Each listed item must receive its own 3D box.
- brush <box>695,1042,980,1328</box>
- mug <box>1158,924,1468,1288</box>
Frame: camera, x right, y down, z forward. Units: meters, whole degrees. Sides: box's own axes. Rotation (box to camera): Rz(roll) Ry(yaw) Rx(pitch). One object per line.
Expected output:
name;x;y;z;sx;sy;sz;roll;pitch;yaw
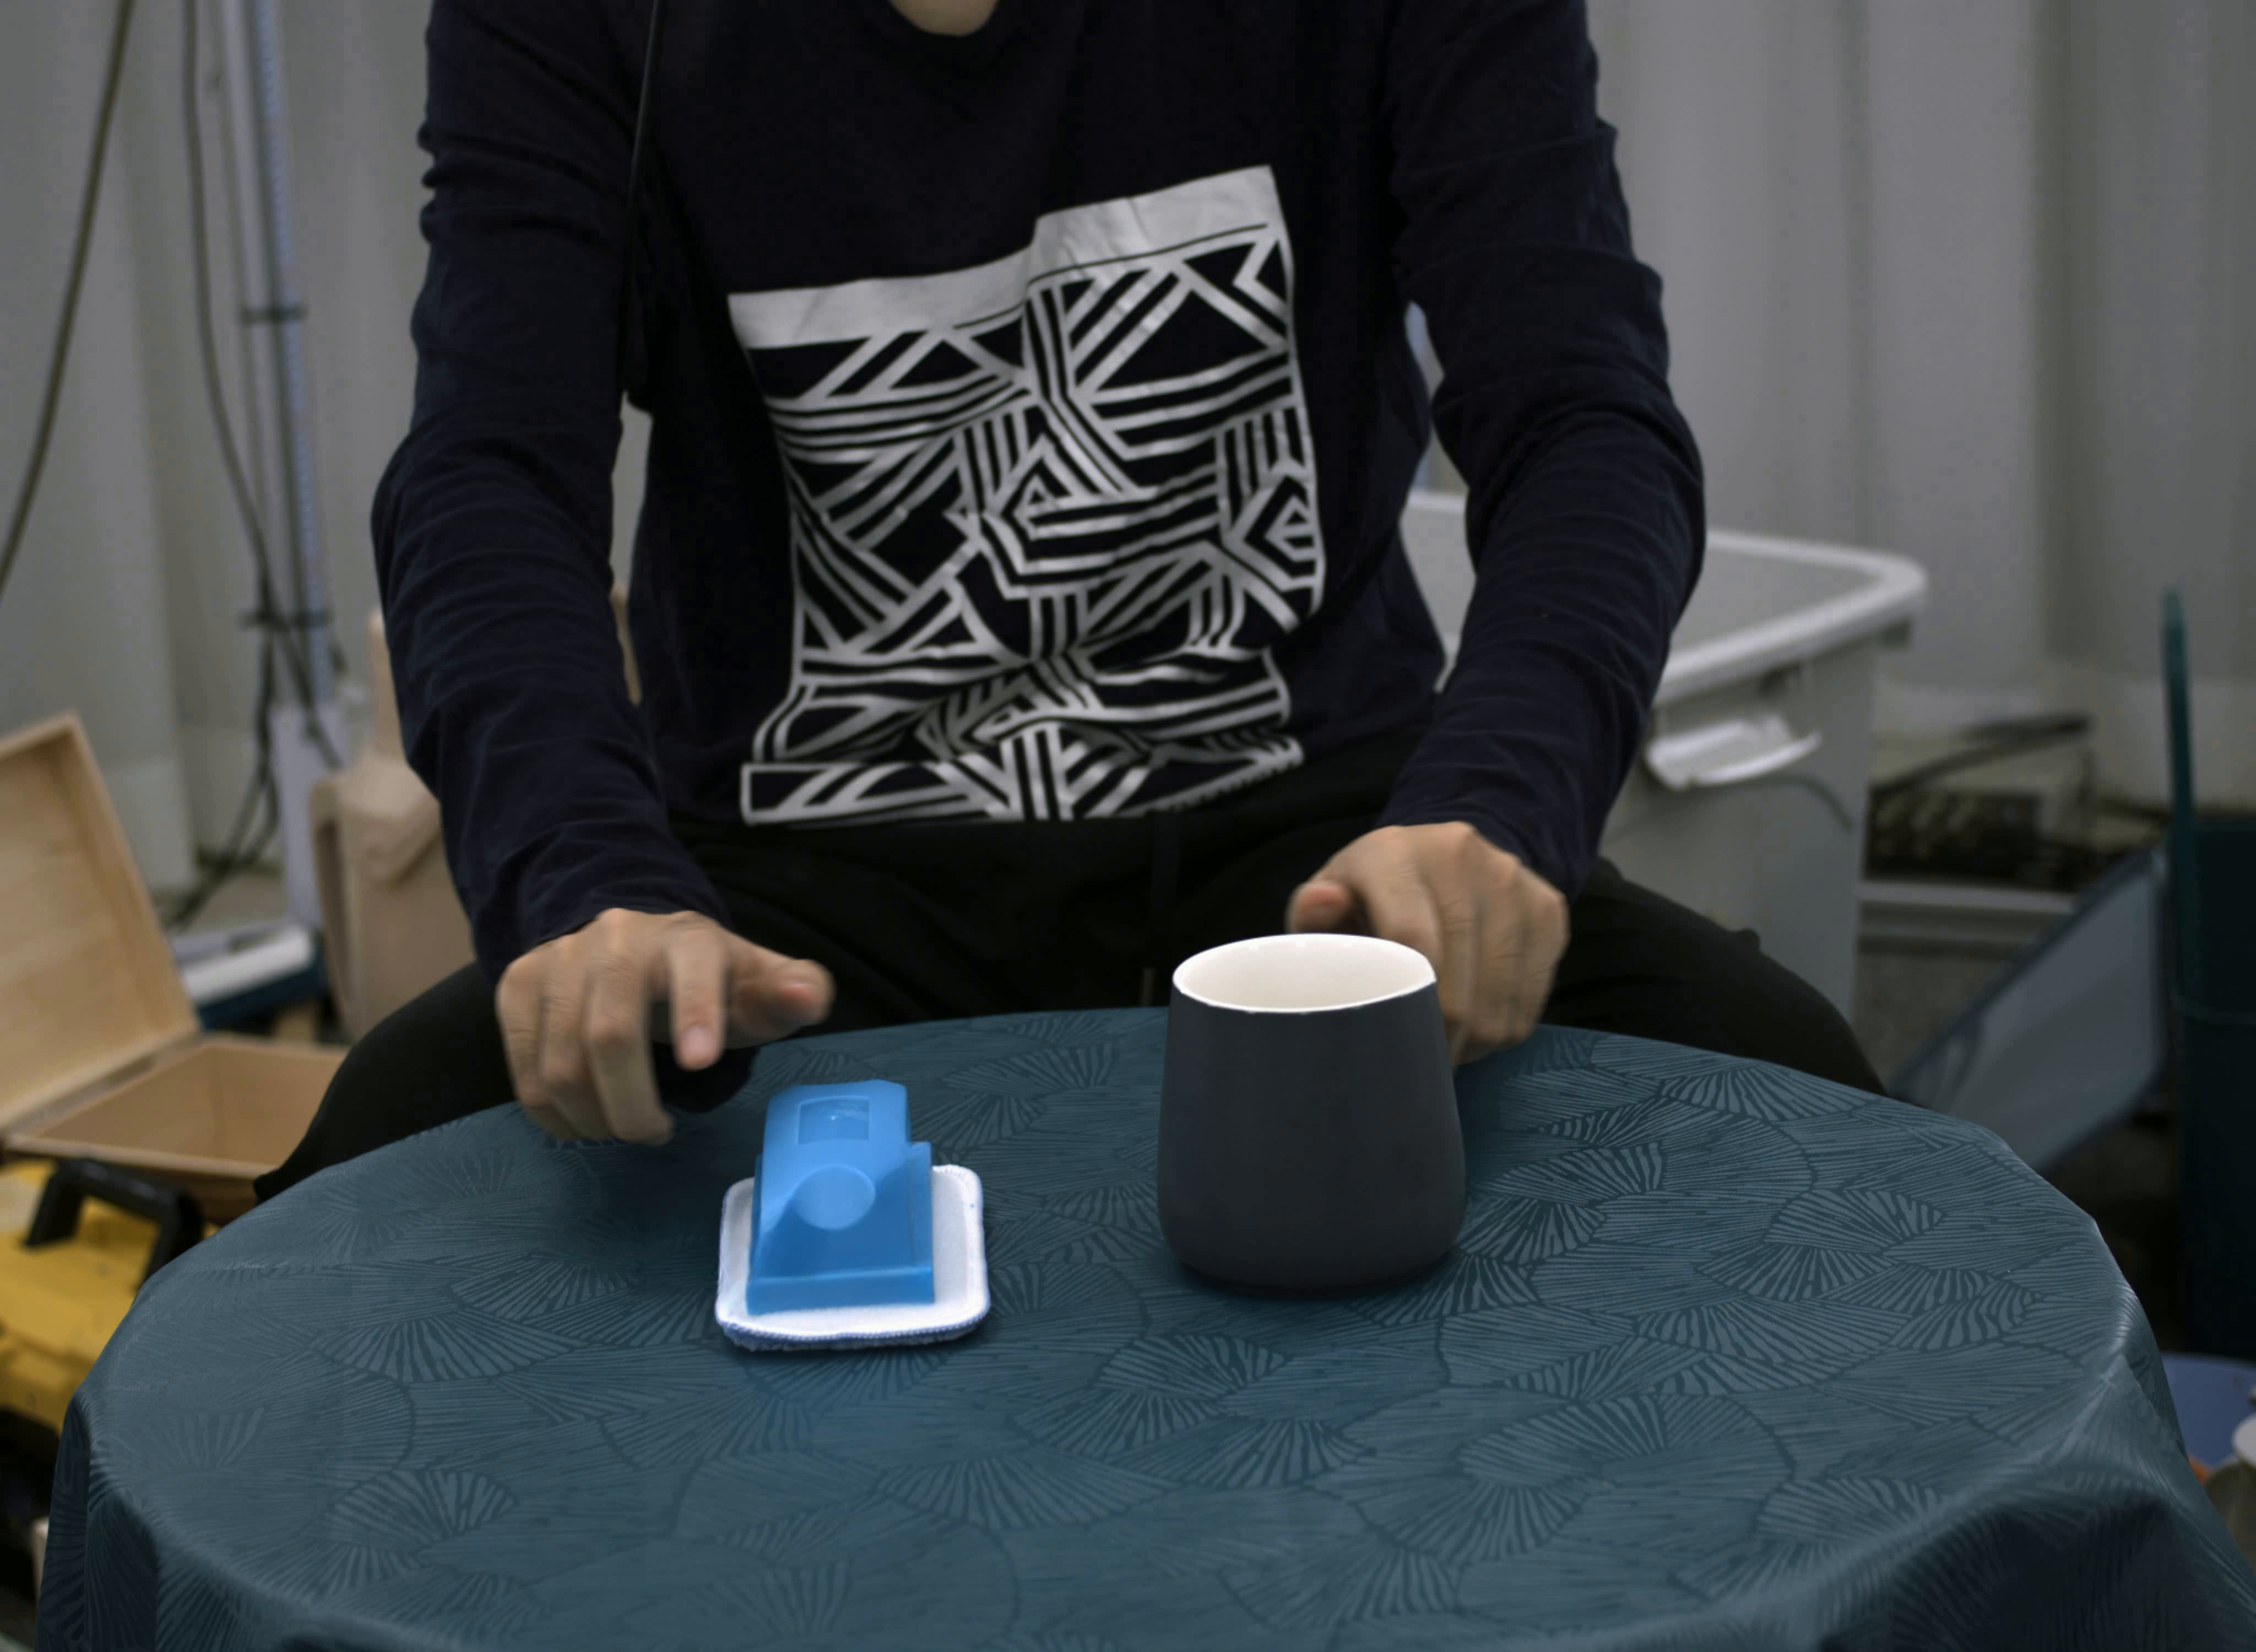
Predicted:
brush;-0.087;0.105;1.650;0.083;0.055;0.145;0;18;0
mug;0.055;0.079;1.652;0.093;0.089;0.124;-1;17;-1
